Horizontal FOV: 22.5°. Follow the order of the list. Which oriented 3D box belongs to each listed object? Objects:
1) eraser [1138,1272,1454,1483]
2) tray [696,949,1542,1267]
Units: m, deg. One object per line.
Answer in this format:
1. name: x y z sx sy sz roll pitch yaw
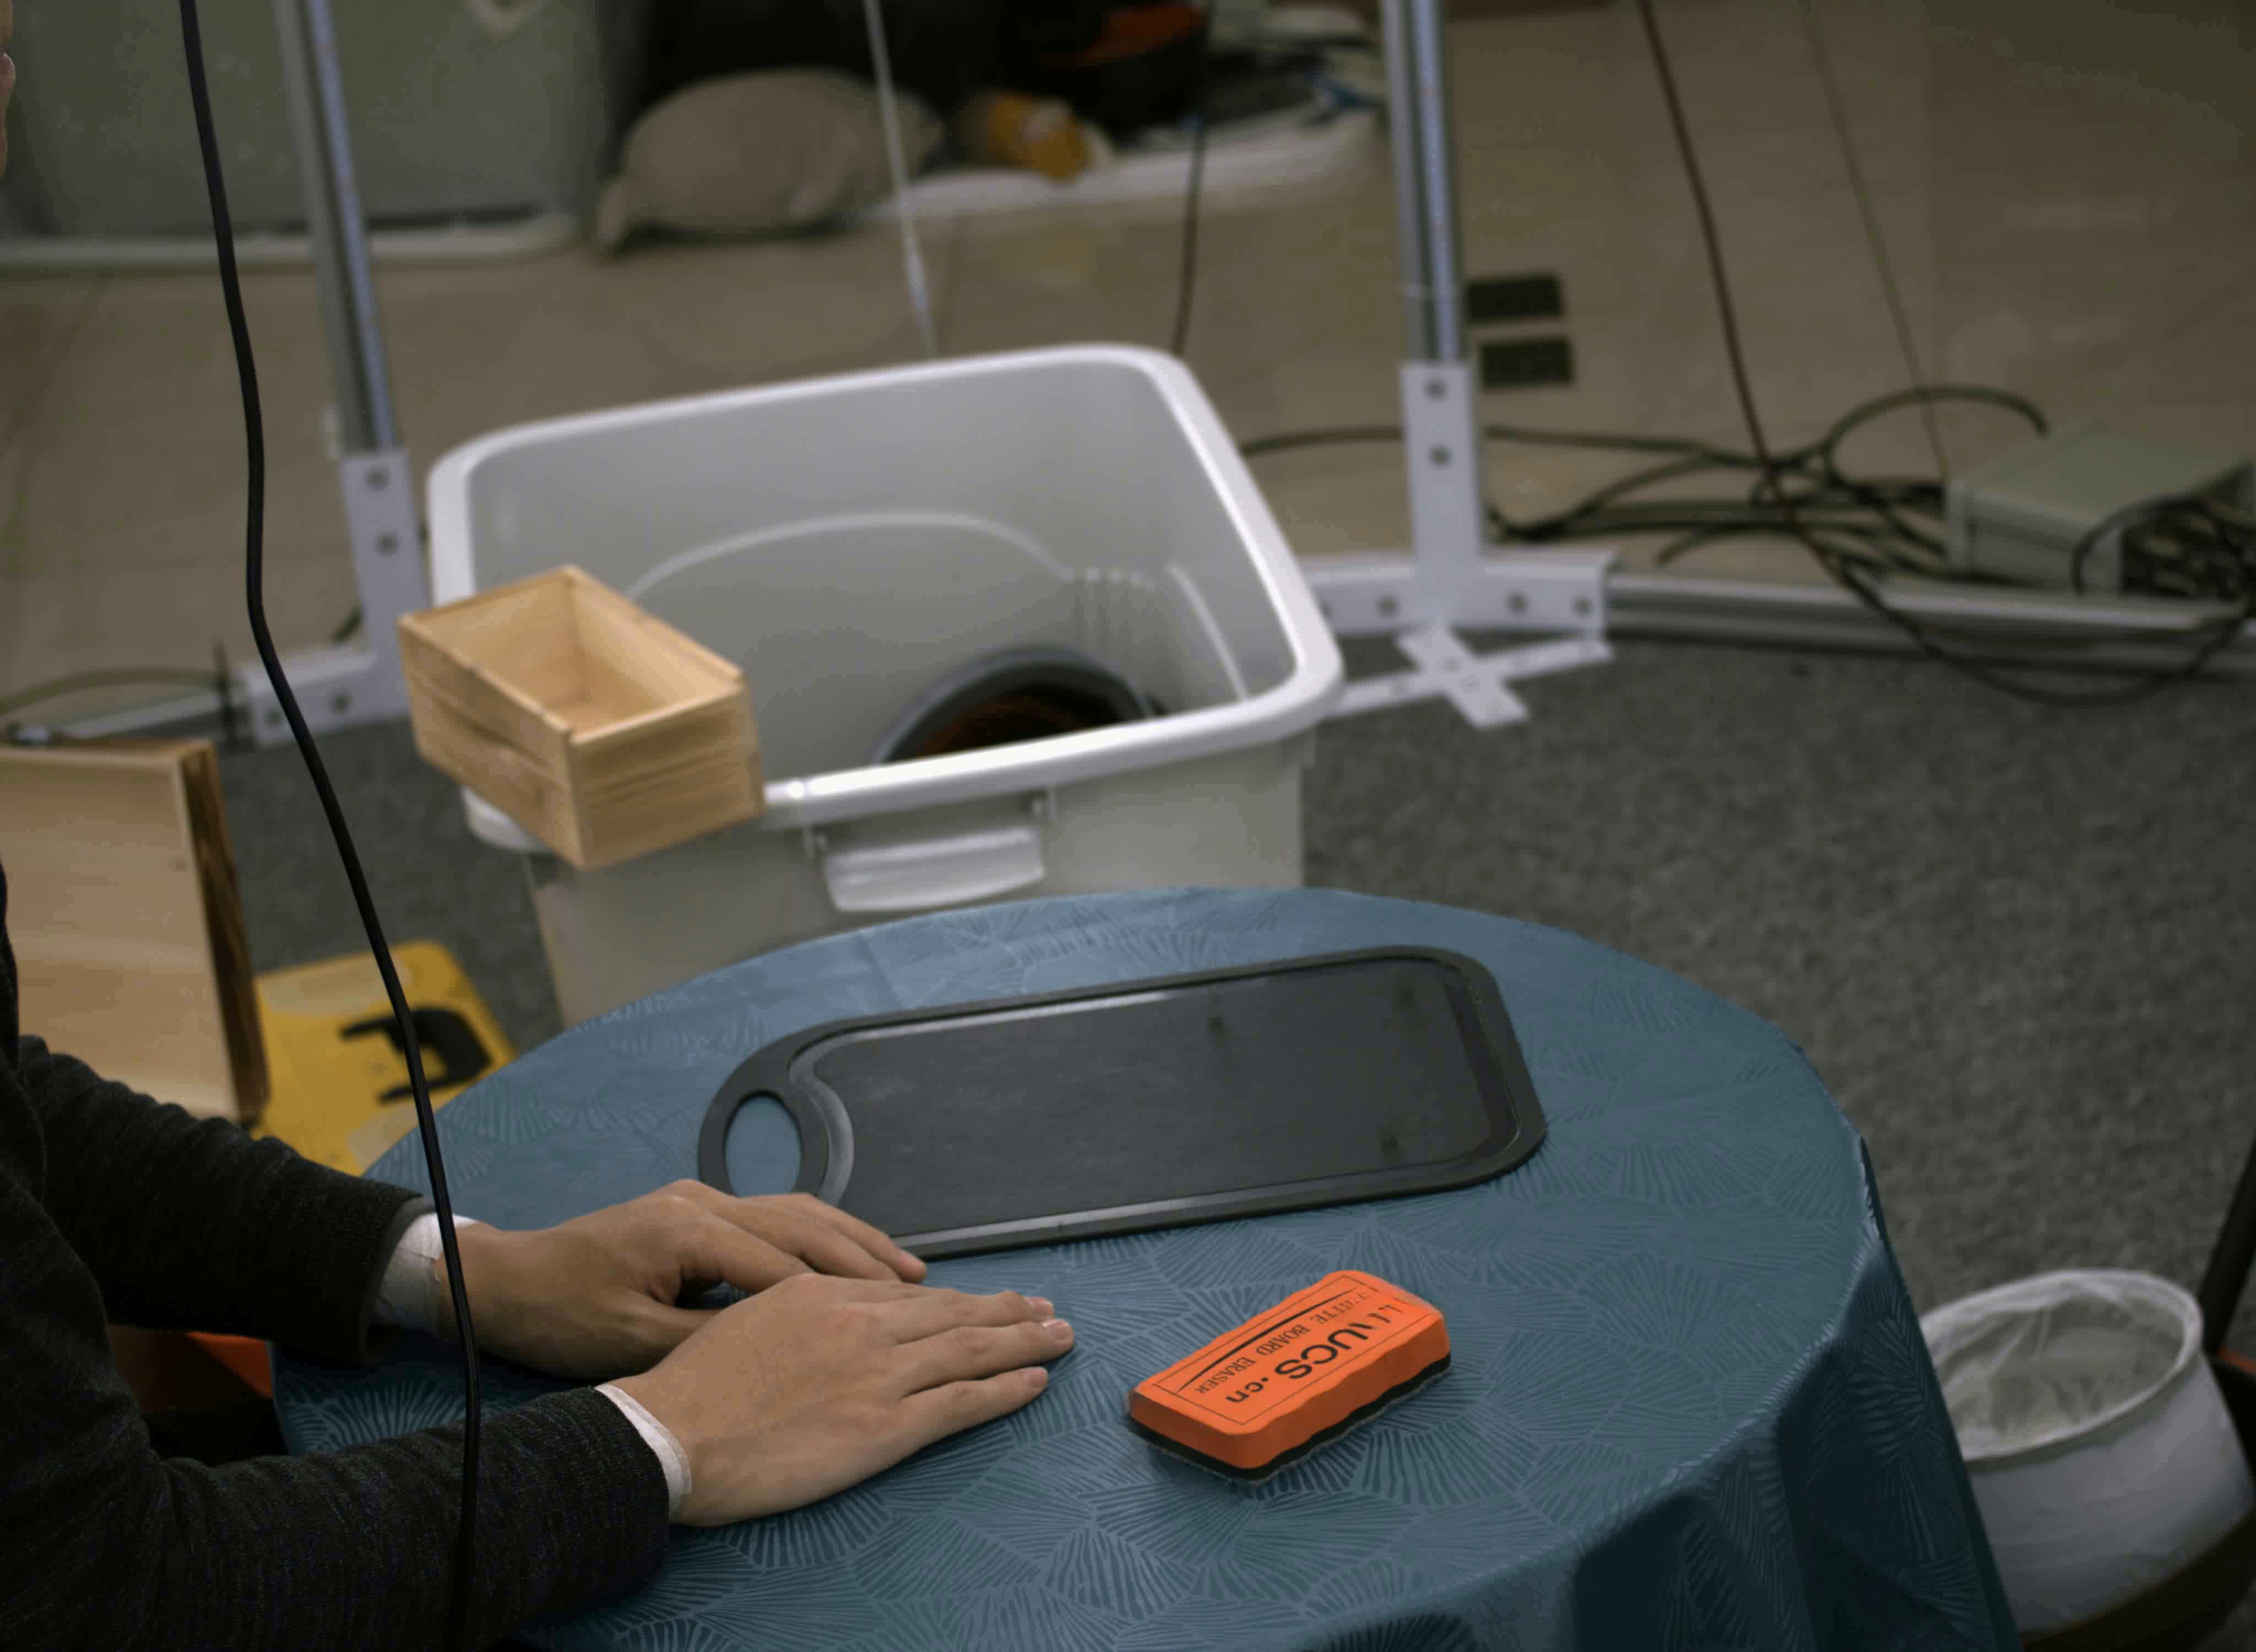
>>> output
1. eraser: 0.059 0.192 1.990 0.107 0.023 0.058 -25 29 -35
2. tray: -0.007 0.108 2.209 0.325 0.010 0.208 -7 24 -1
